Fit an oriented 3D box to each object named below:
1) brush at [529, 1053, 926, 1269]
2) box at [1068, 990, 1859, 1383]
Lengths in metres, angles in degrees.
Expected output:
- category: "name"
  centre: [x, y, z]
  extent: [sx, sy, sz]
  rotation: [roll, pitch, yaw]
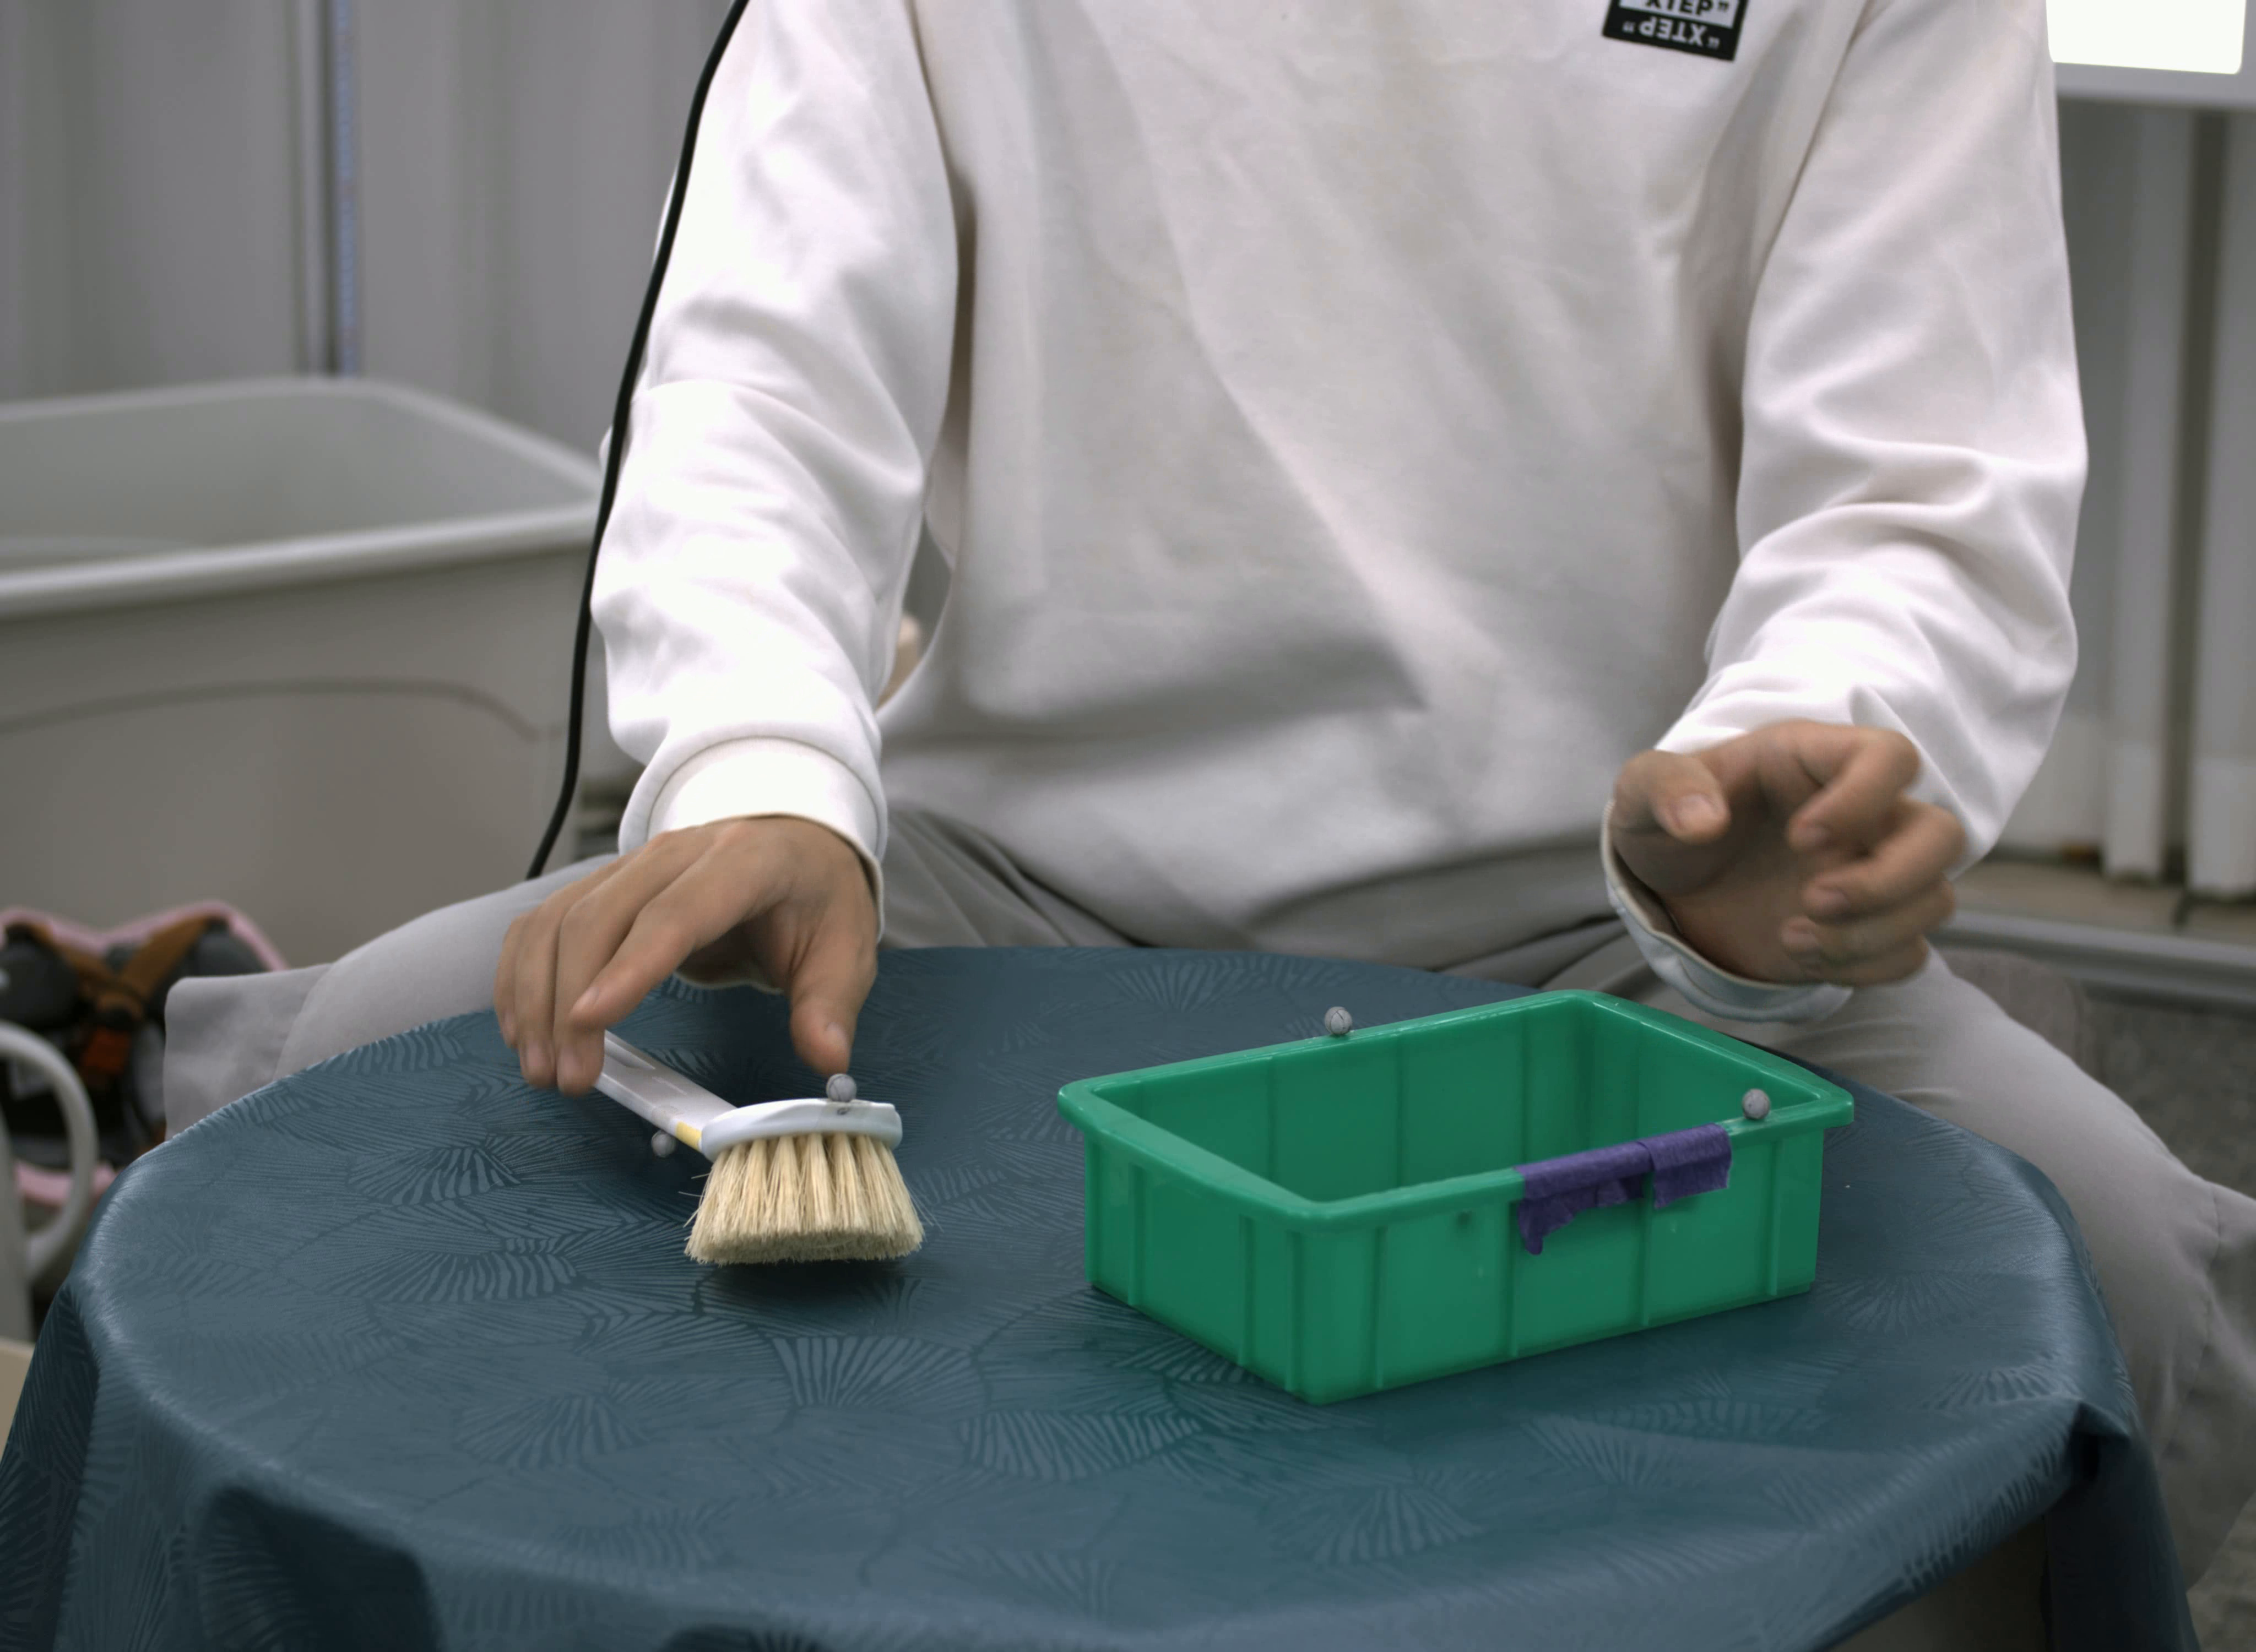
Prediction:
- category: "brush"
  centre: [-0.134, 0.102, 1.638]
  extent: [0.069, 0.056, 0.264]
  rotation: [17, -9, -26]
- category: "box"
  centre: [0.097, 0.104, 1.546]
  extent: [0.211, 0.066, 0.137]
  rotation: [-7, 18, -34]
